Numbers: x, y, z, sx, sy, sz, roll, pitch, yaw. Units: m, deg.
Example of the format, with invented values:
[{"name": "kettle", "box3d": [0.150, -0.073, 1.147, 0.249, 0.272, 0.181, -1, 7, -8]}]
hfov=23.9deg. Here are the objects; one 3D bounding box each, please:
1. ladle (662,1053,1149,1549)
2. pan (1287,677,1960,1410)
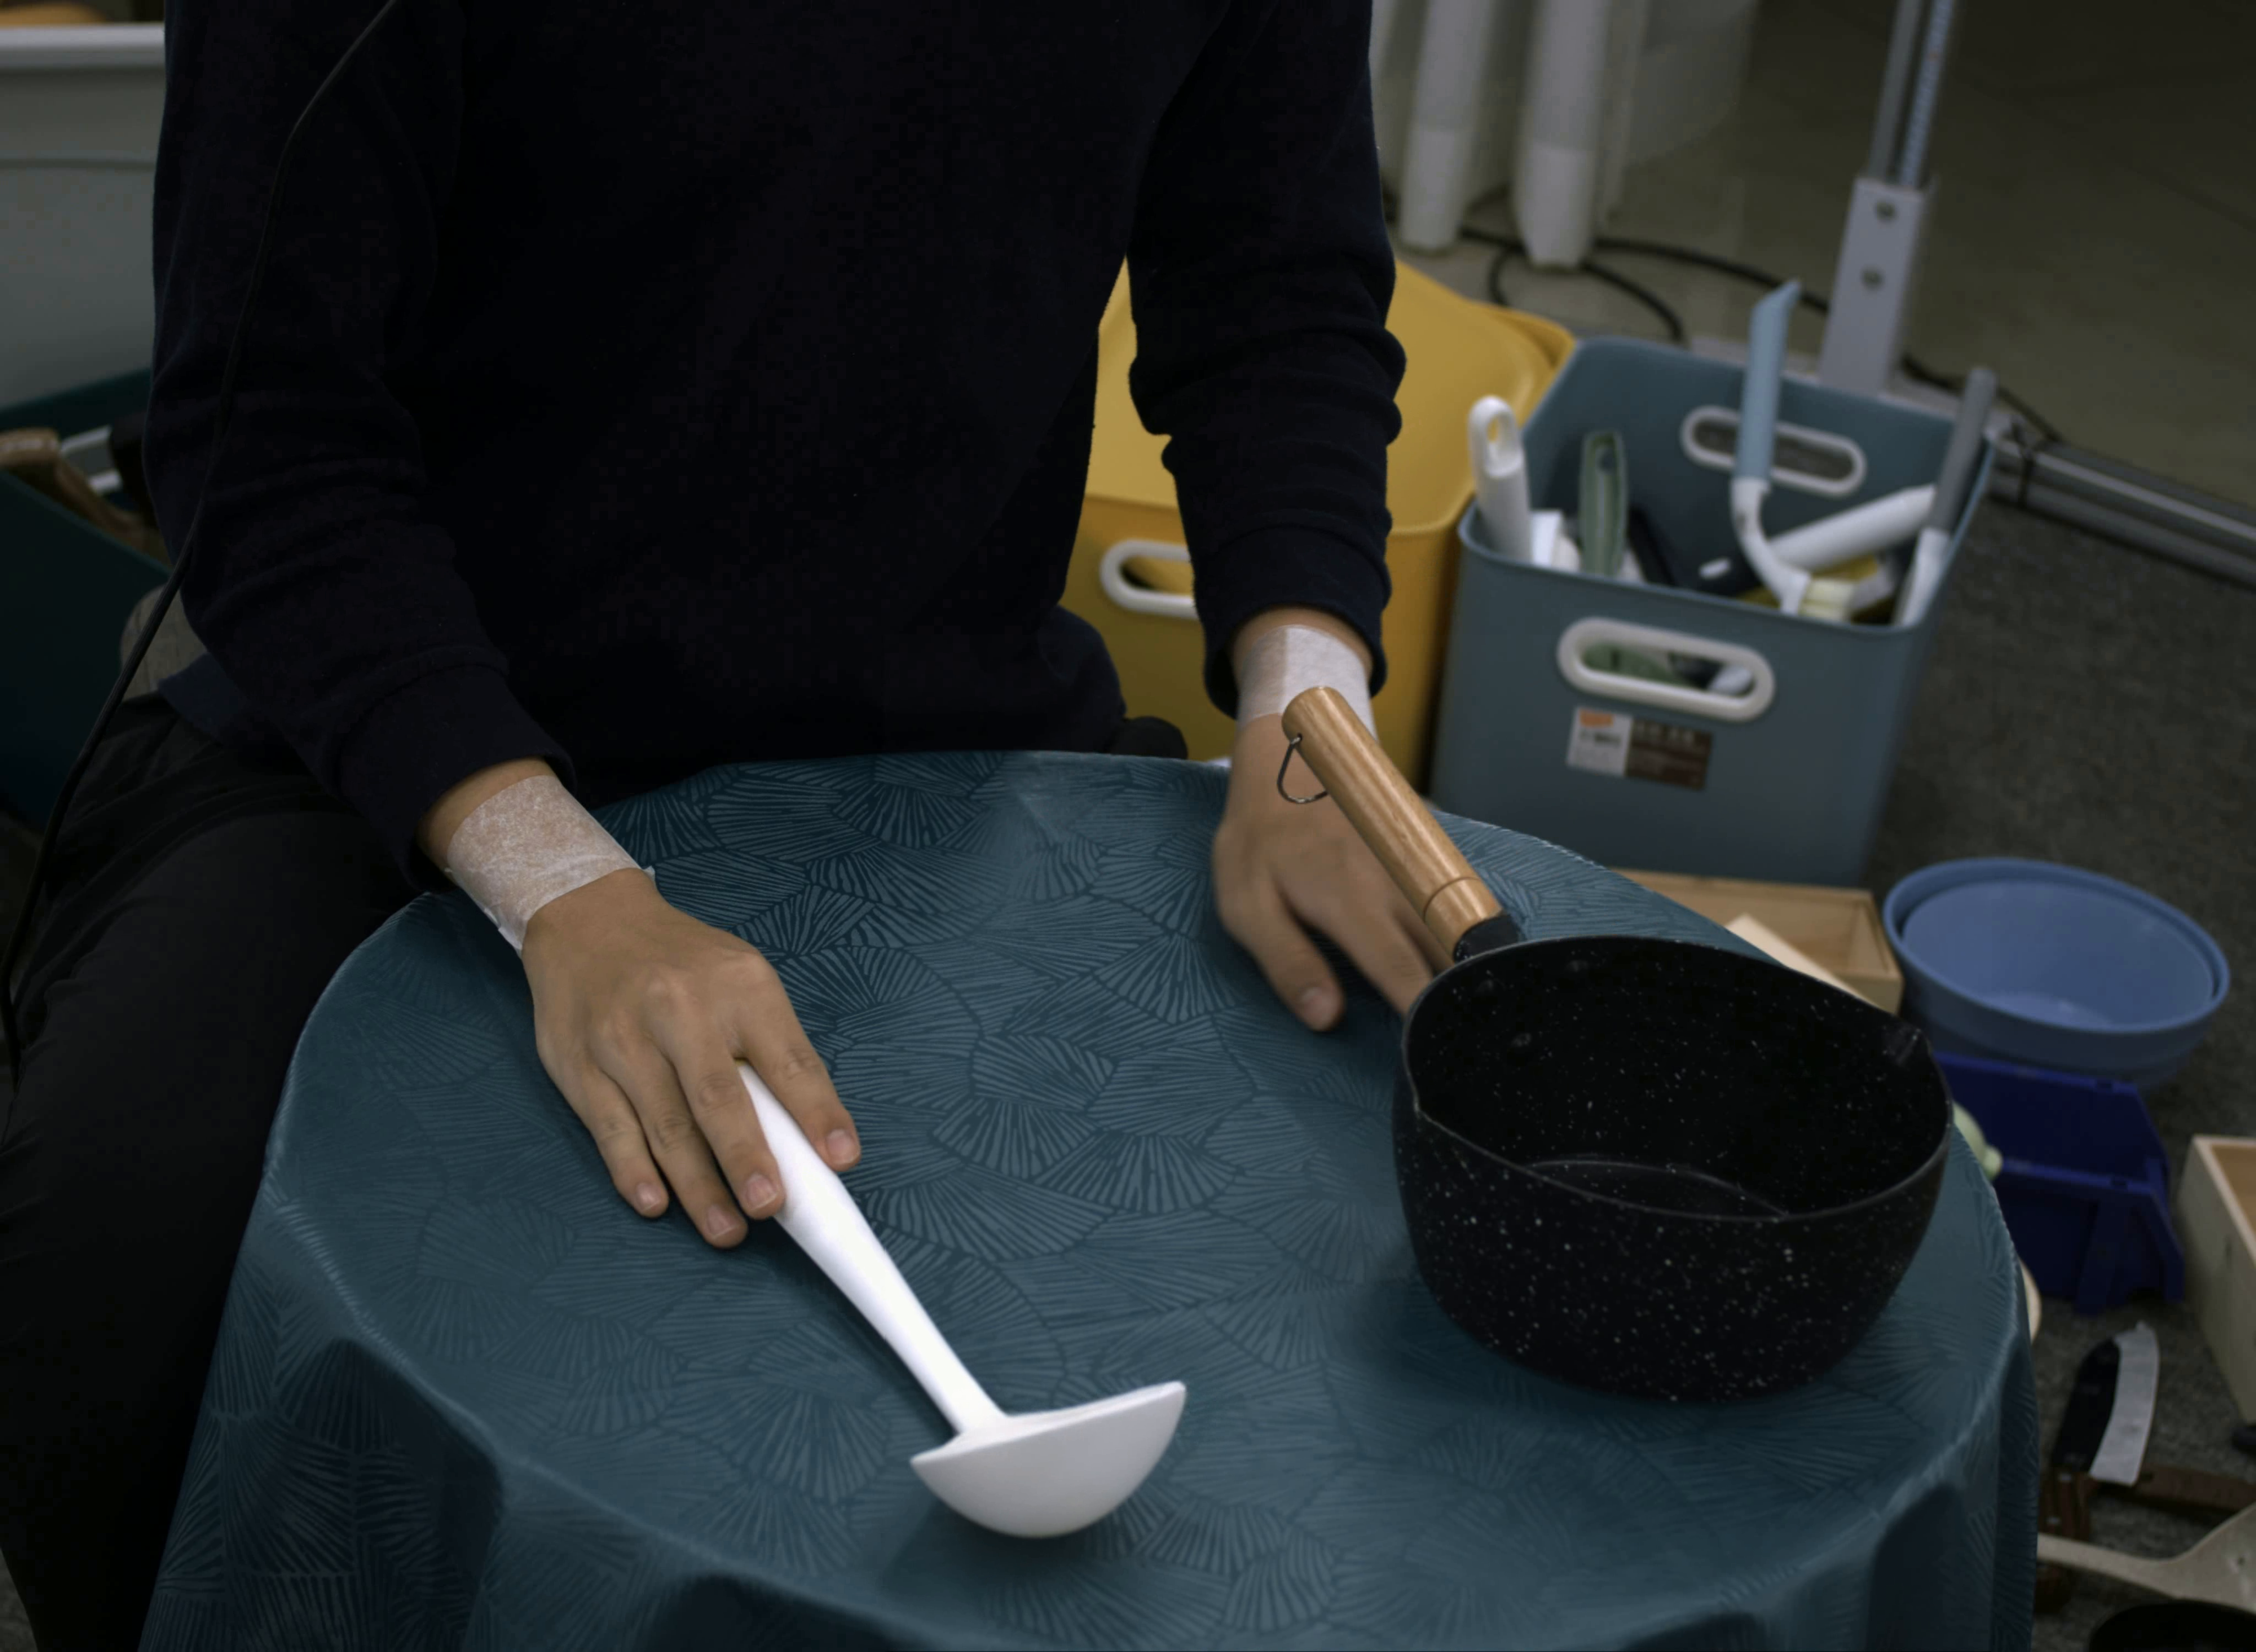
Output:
[{"name": "ladle", "box3d": [-0.084, 0.139, 1.686, 0.090, 0.069, 0.295, -21, 34, -17]}, {"name": "pan", "box3d": [0.139, 0.071, 1.818, 0.206, 0.108, 0.346, -10, 33, -28]}]
